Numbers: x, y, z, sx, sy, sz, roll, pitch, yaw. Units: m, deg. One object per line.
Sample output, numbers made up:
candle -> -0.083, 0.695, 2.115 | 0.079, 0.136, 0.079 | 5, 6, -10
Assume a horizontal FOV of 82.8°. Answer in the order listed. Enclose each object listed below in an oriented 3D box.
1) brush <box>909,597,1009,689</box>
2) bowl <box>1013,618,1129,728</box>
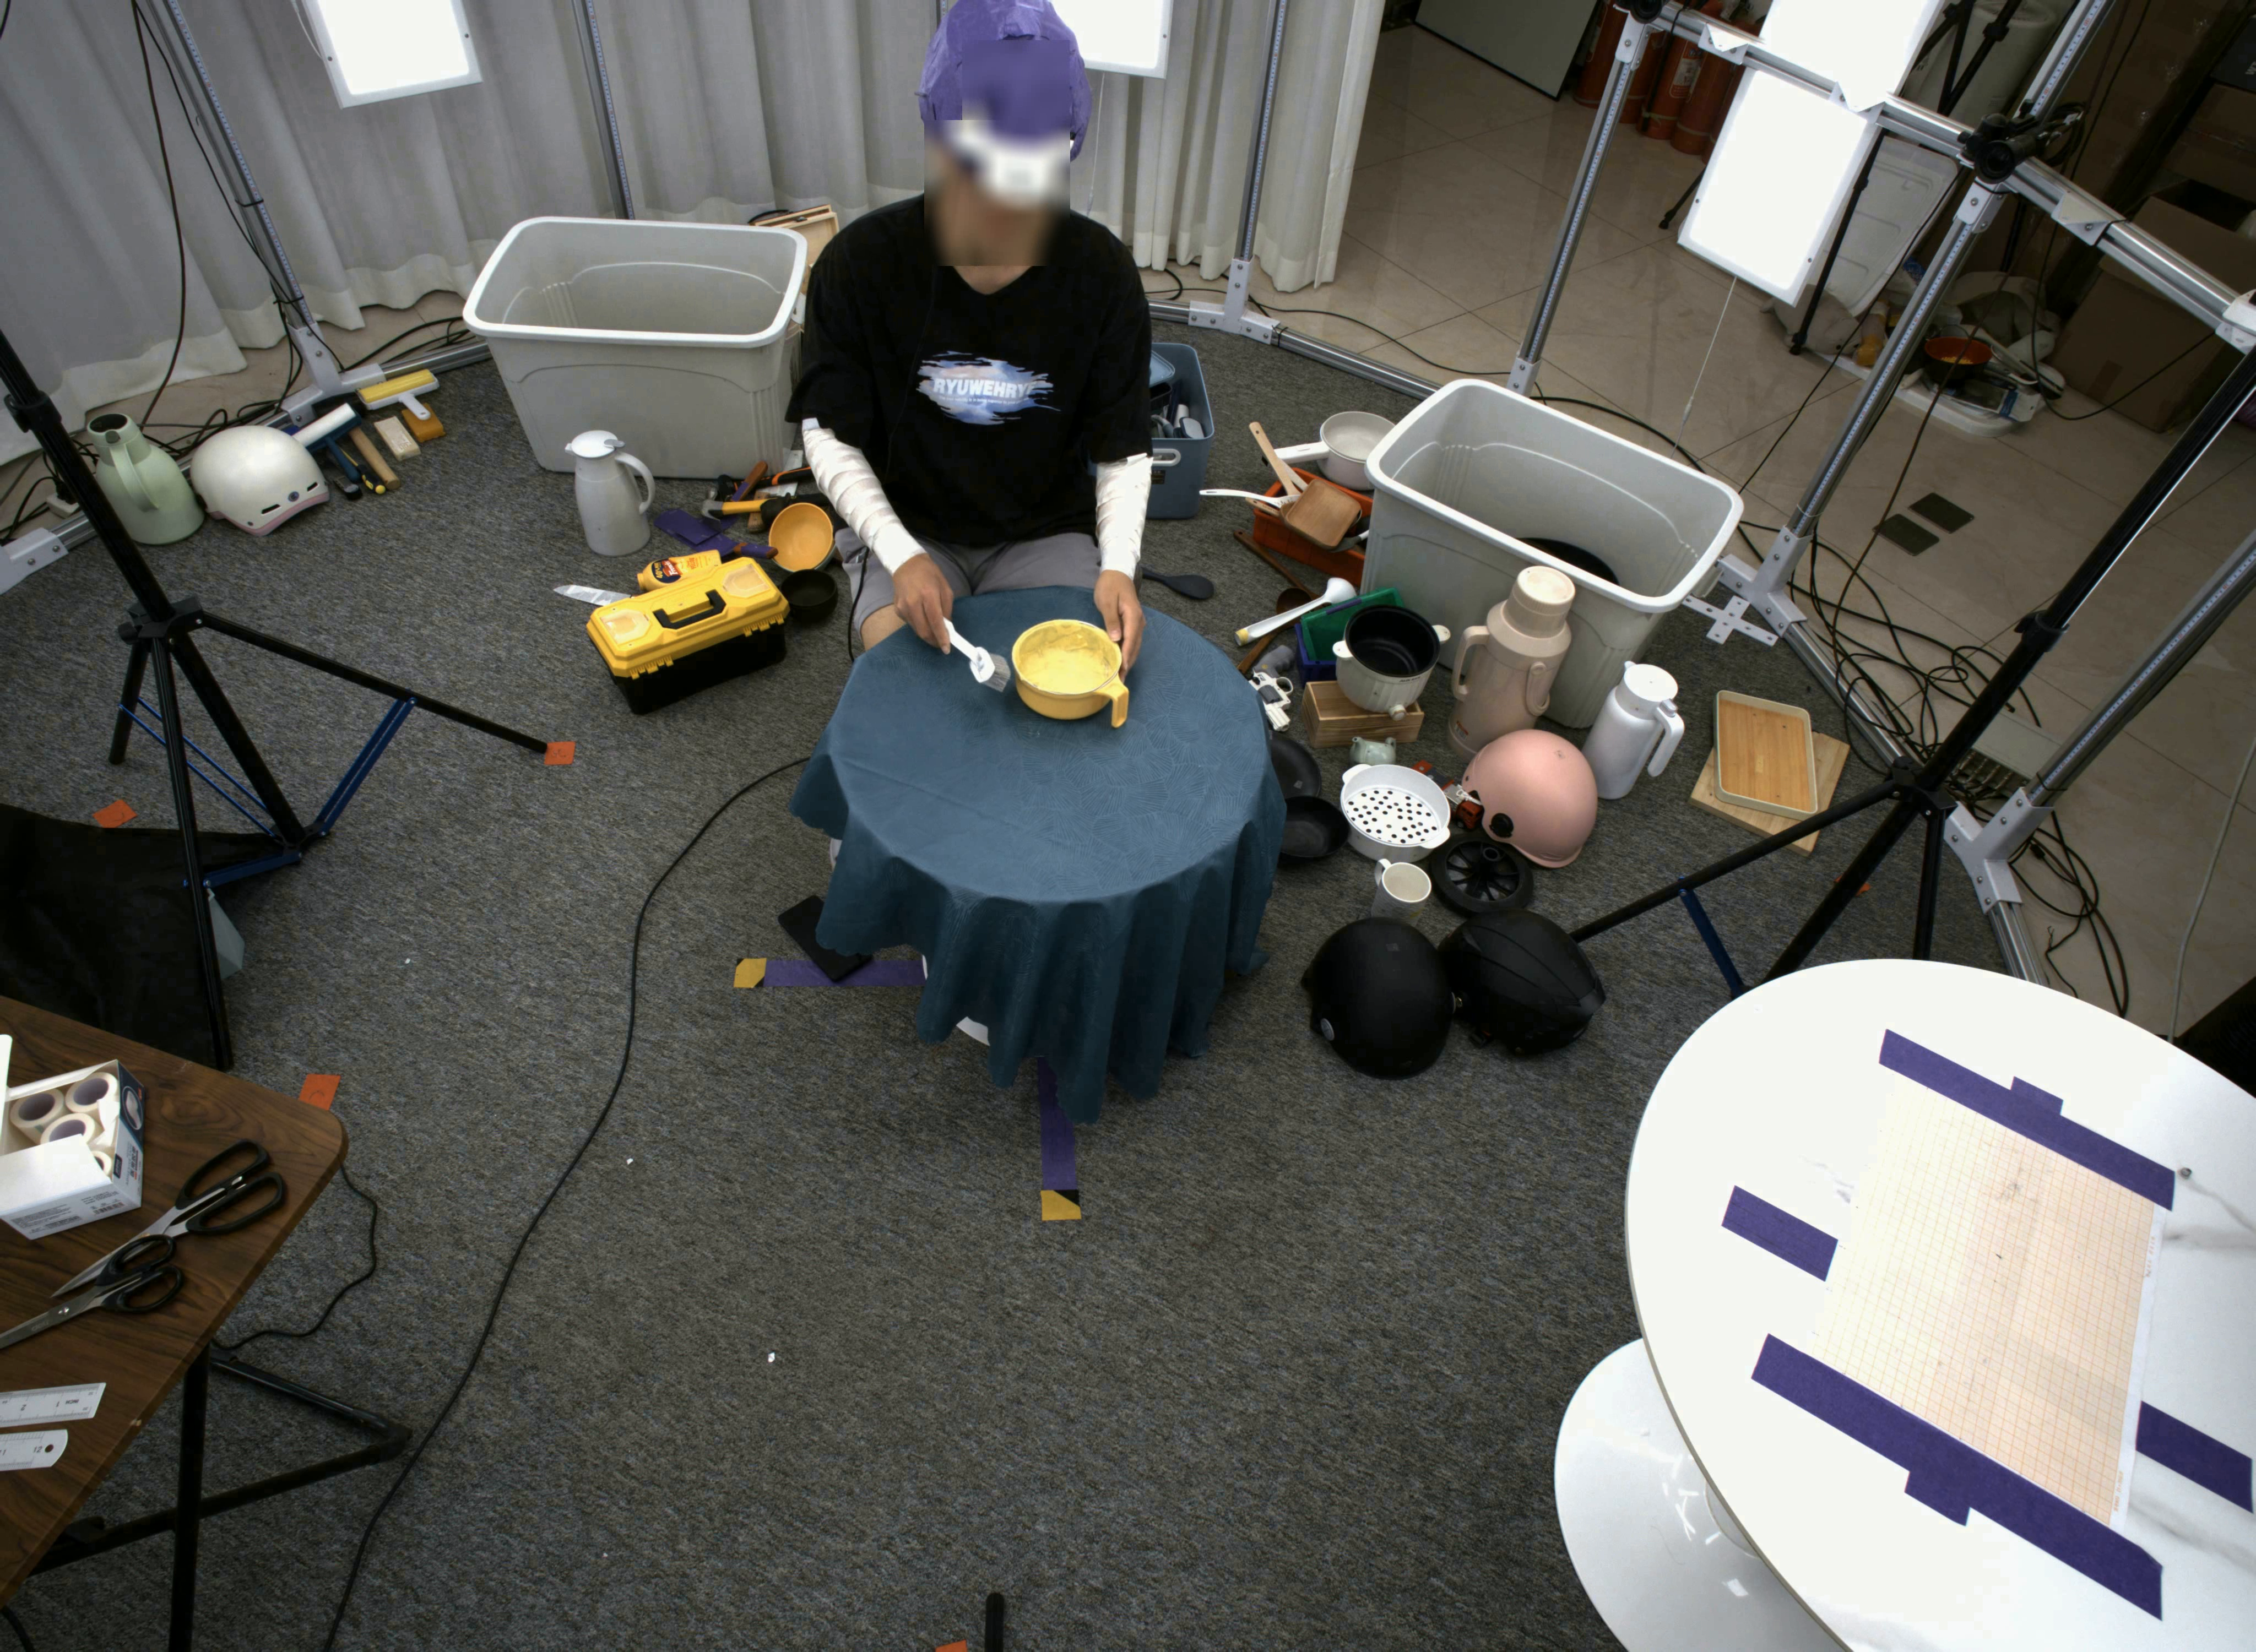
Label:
brush -> -0.237, -0.263, 1.824 | 0.050, 0.034, 0.248 | 4, 29, -41
bowl -> -0.076, -0.210, 1.805 | 0.181, 0.072, 0.155 | 32, 51, 21
